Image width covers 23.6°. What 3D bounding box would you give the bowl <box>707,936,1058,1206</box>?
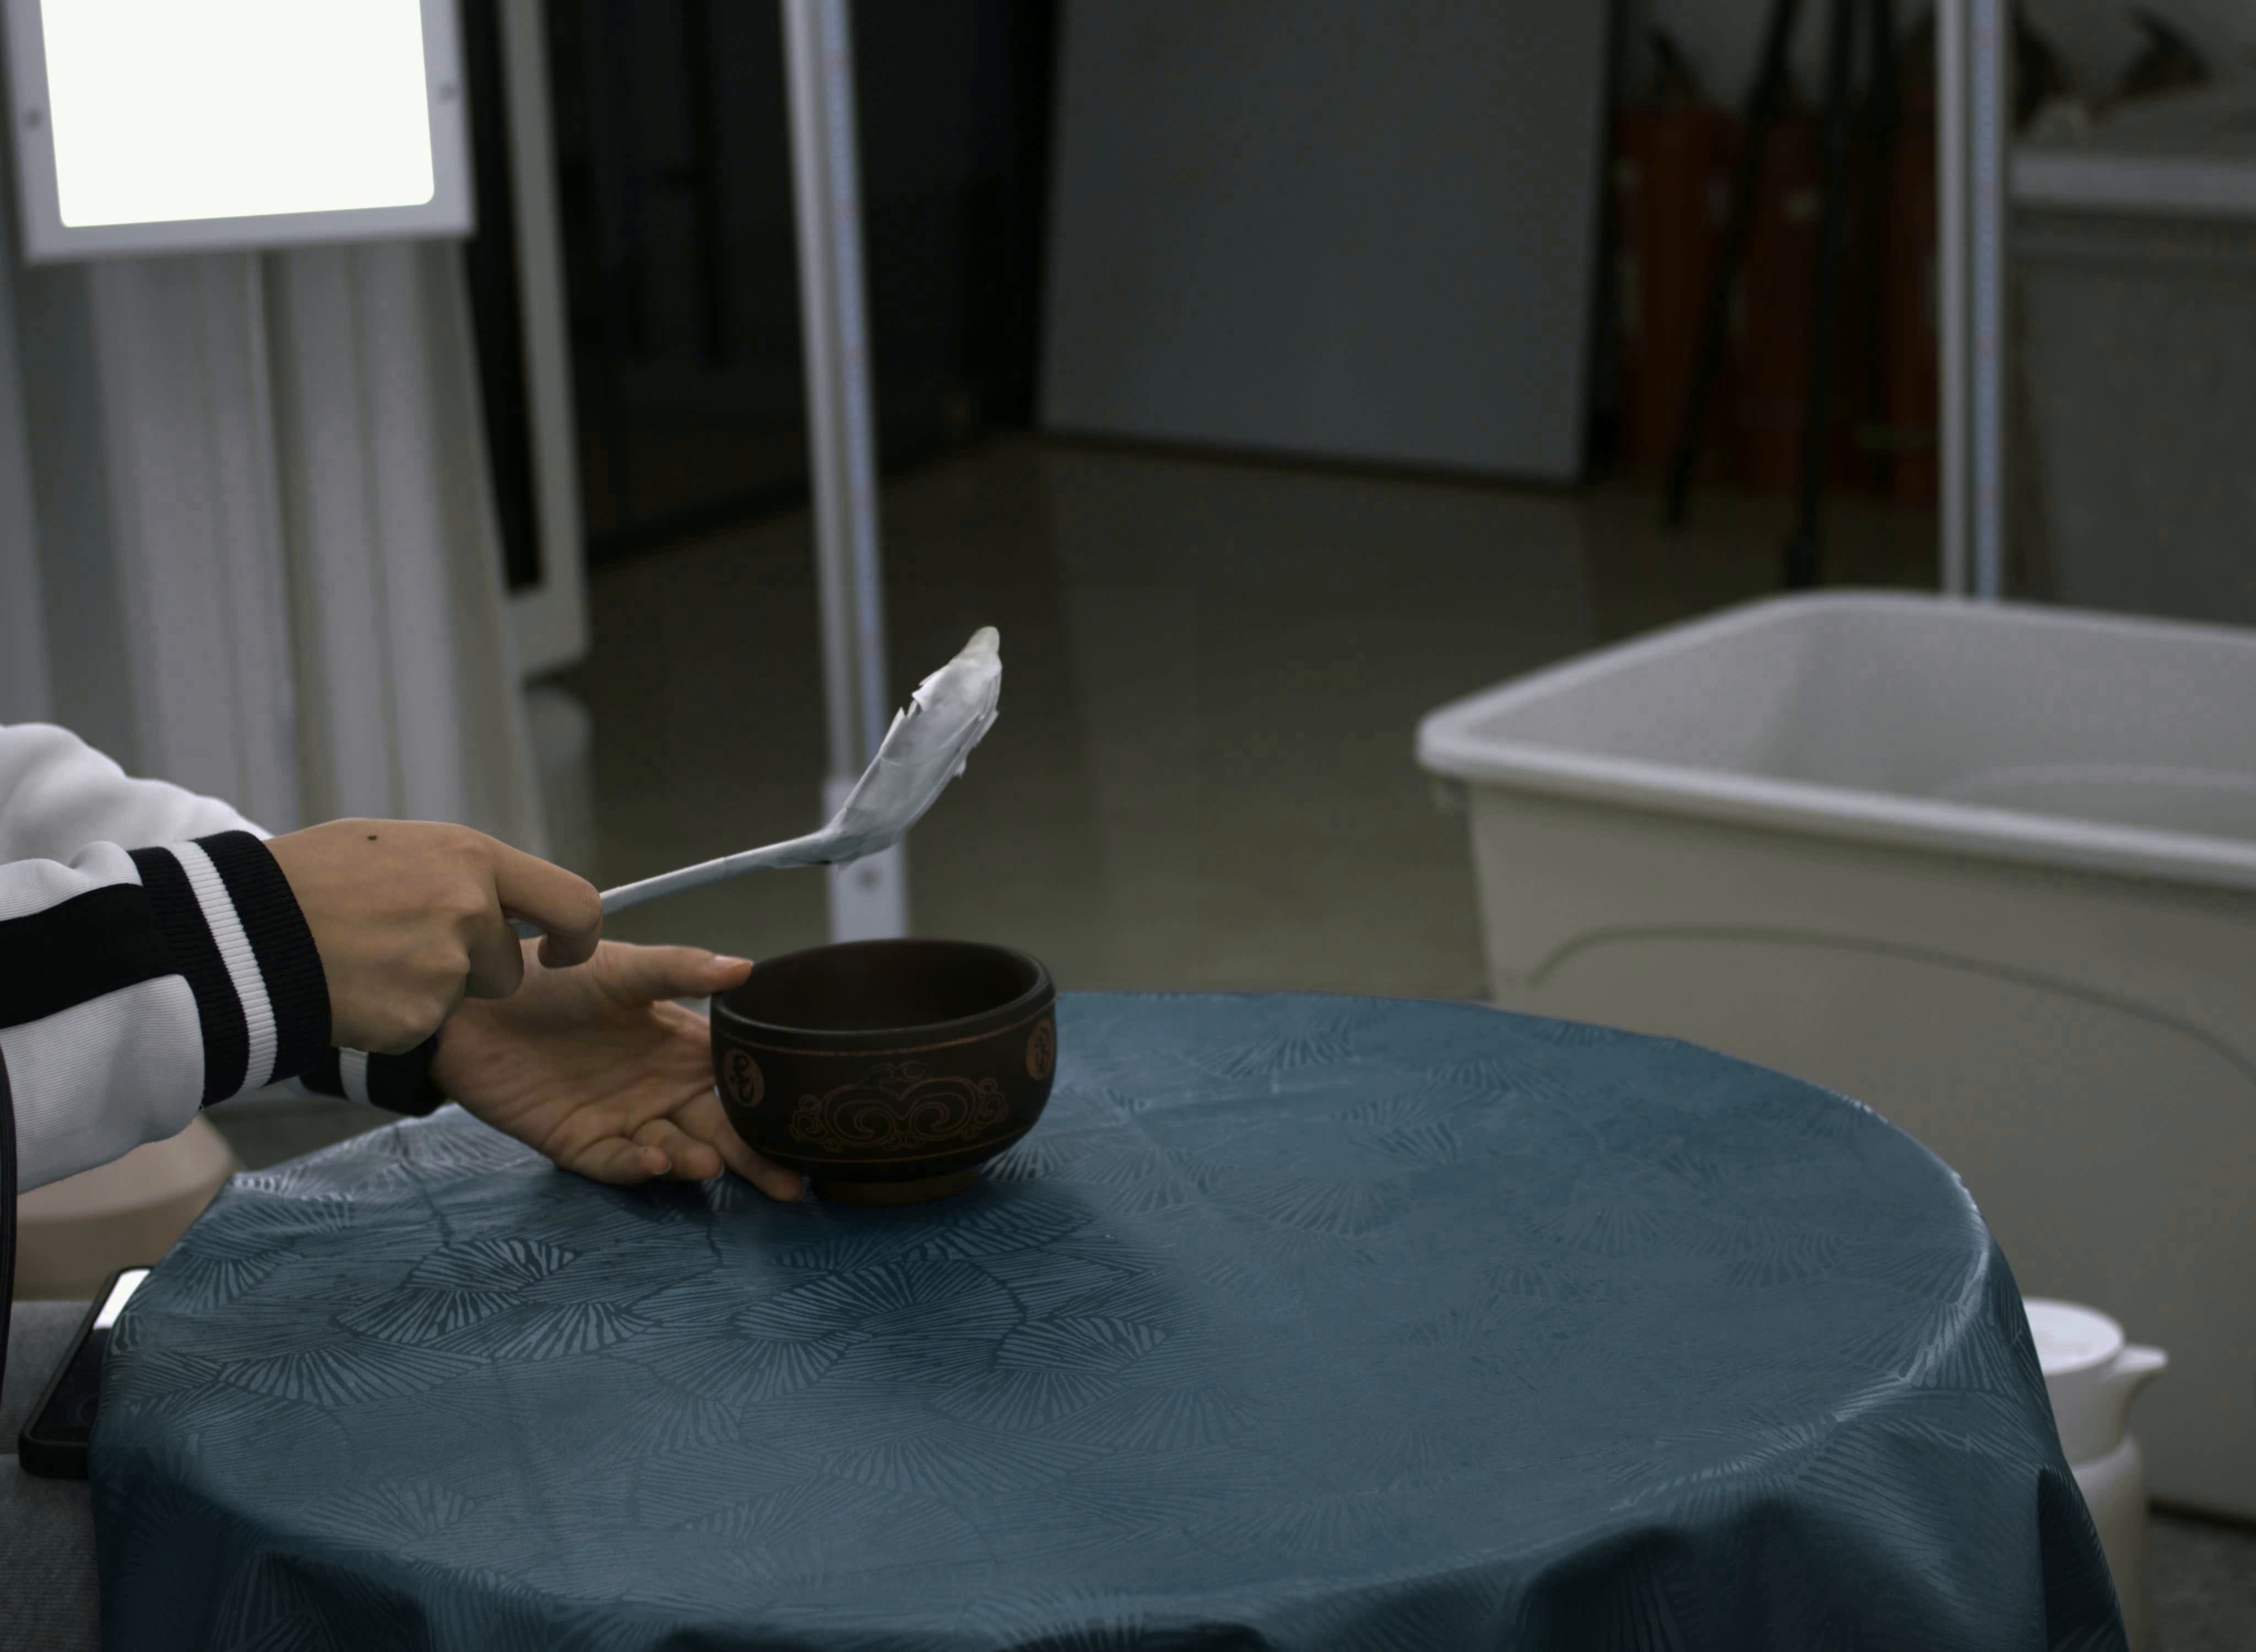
[{"bbox_3d":[-0.080,0.084,1.789,0.116,0.070,0.118,-4,13,0],"label":"bowl"}]

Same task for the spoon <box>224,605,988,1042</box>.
[{"bbox_3d":[-0.160,0.003,1.688,0.272,0.060,0.101,-18,-27,-18],"label":"spoon"}]
